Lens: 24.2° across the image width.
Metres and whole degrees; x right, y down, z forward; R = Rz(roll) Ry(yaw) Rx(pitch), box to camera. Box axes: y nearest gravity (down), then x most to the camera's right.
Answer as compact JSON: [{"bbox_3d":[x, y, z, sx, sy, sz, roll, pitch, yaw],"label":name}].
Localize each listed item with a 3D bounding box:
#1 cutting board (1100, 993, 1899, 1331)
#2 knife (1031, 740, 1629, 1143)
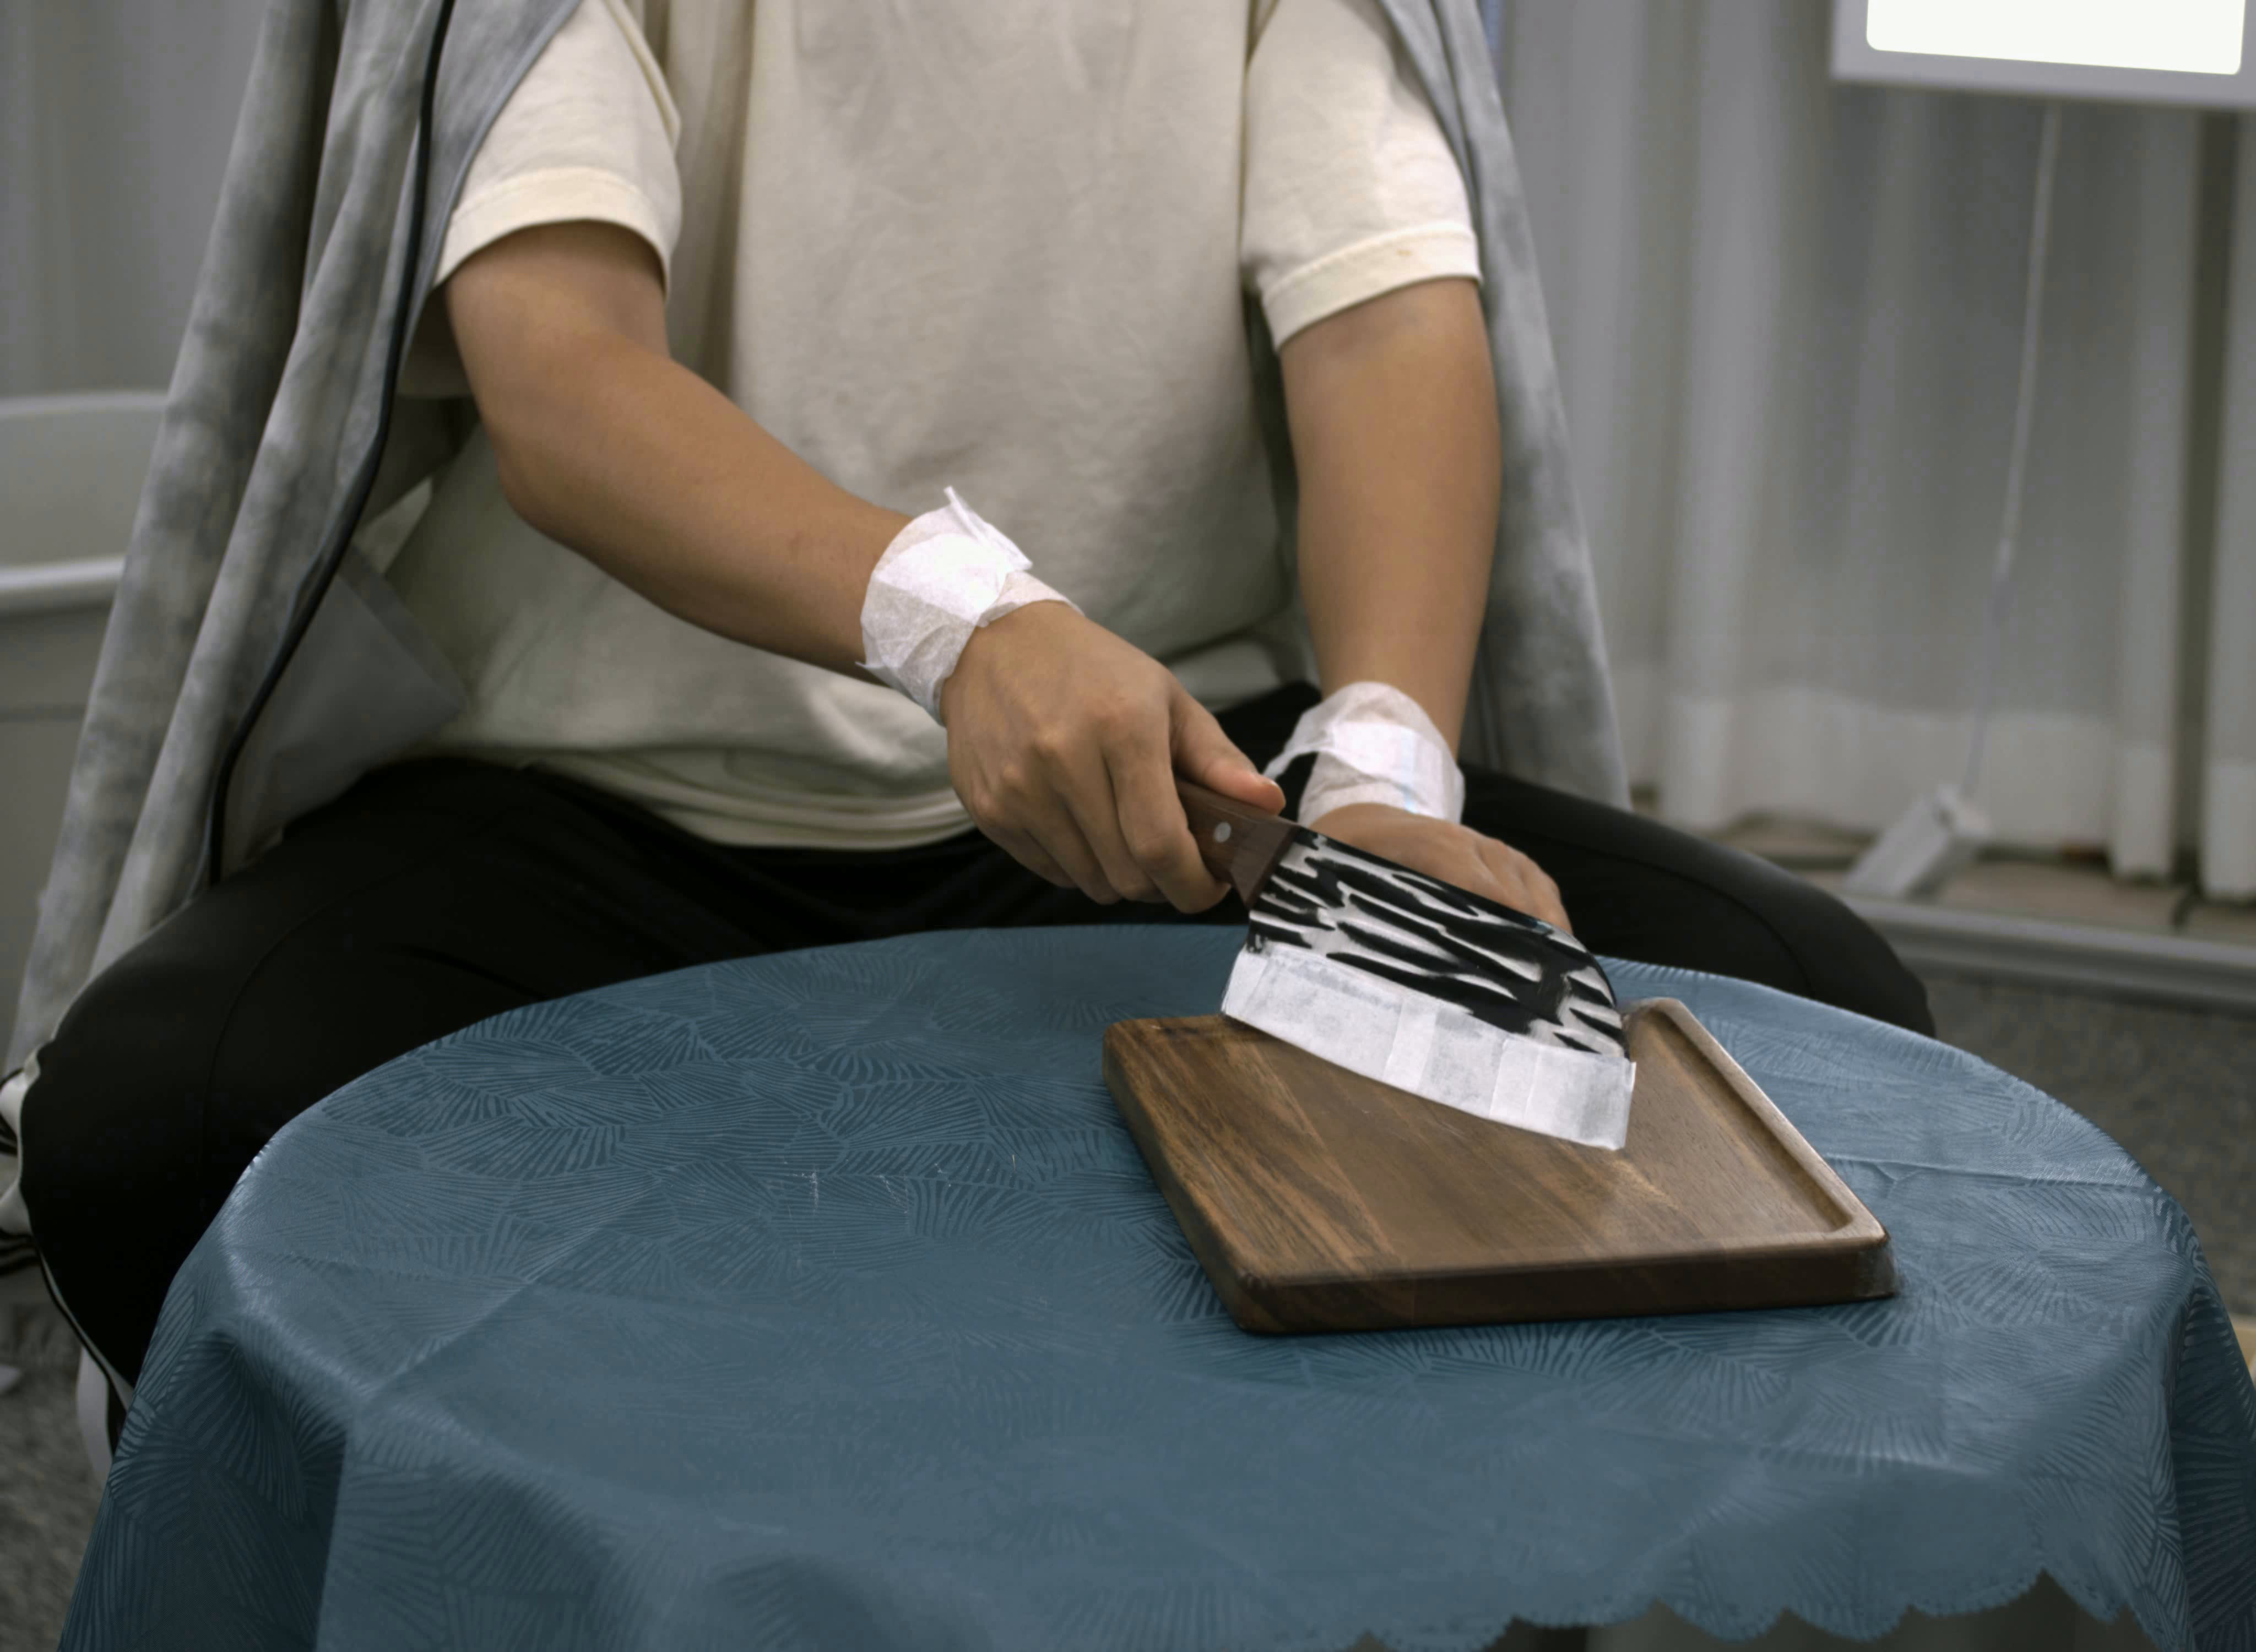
[{"bbox_3d":[0.100,0.087,1.682,0.201,0.023,0.349,-2,15,-10],"label":"cutting board"},{"bbox_3d":[0.060,0.035,1.714,0.295,0.068,0.024,23,-3,44],"label":"knife"}]
